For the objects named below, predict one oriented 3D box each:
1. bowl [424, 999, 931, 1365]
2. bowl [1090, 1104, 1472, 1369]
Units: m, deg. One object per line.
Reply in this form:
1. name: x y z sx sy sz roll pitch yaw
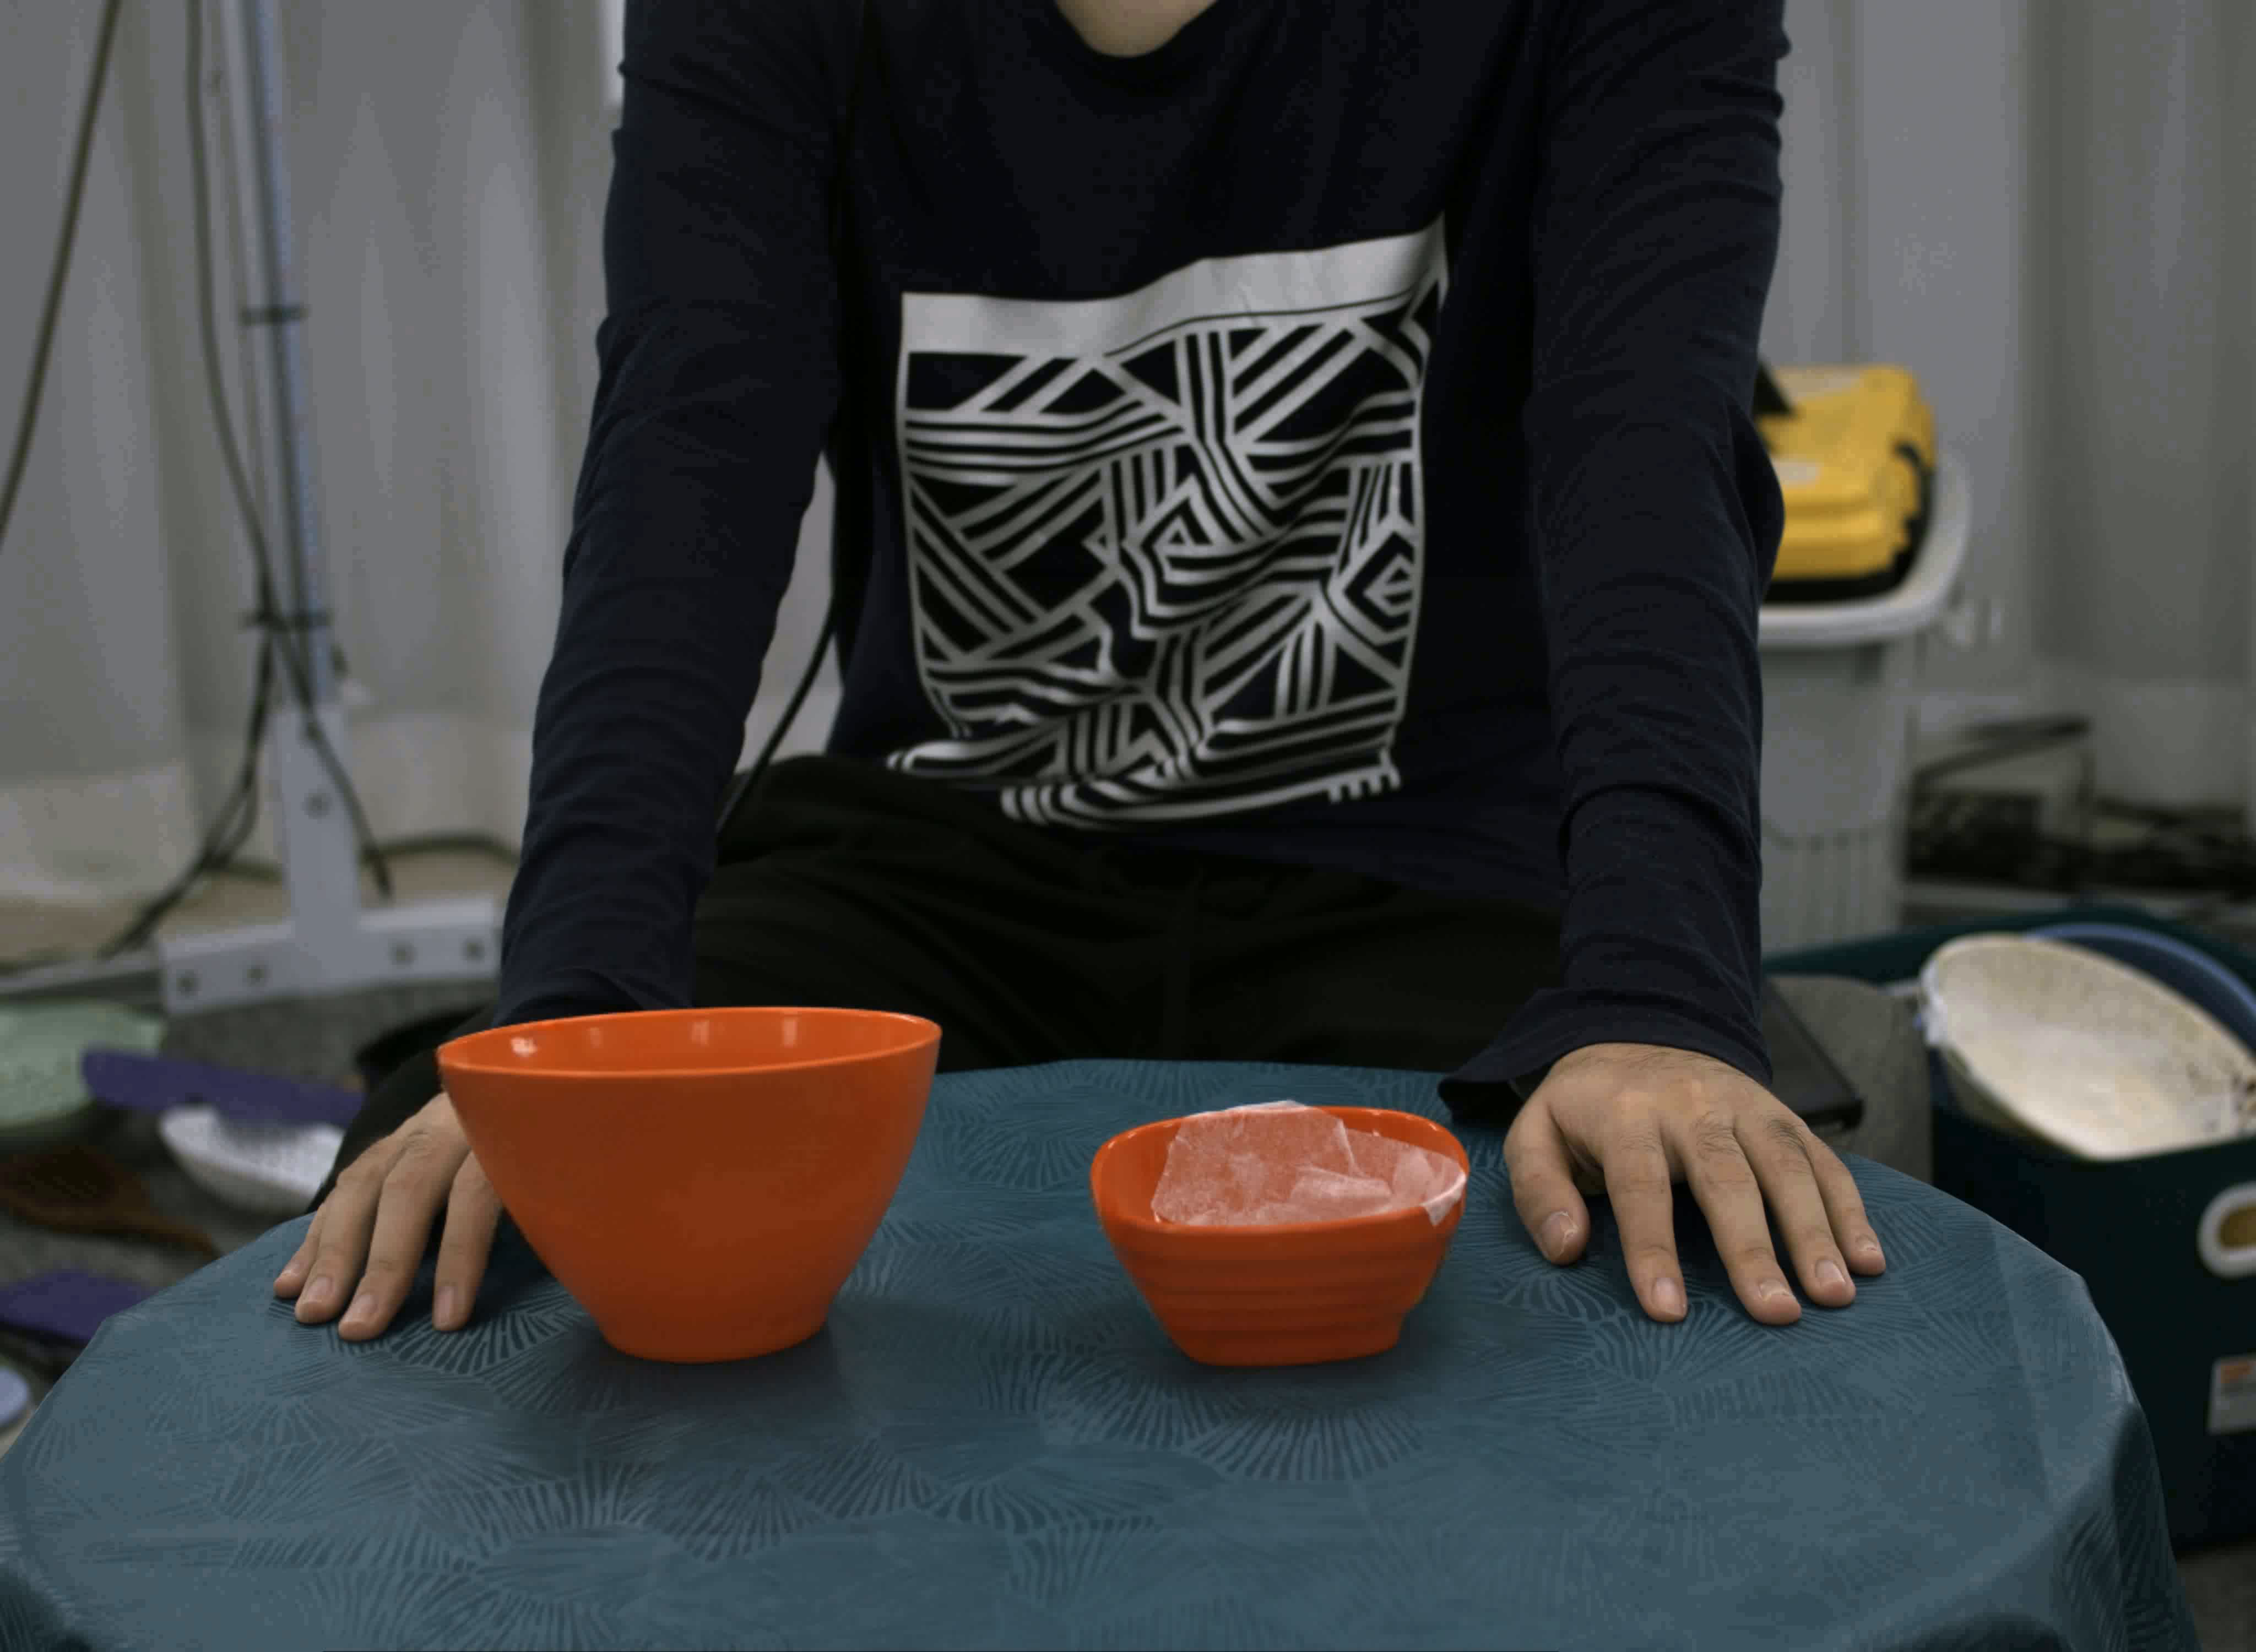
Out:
1. bowl: -0.128 0.101 1.595 0.147 0.104 0.149 -3 15 1
2. bowl: 0.046 0.121 1.586 0.118 0.051 0.120 -4 15 1
